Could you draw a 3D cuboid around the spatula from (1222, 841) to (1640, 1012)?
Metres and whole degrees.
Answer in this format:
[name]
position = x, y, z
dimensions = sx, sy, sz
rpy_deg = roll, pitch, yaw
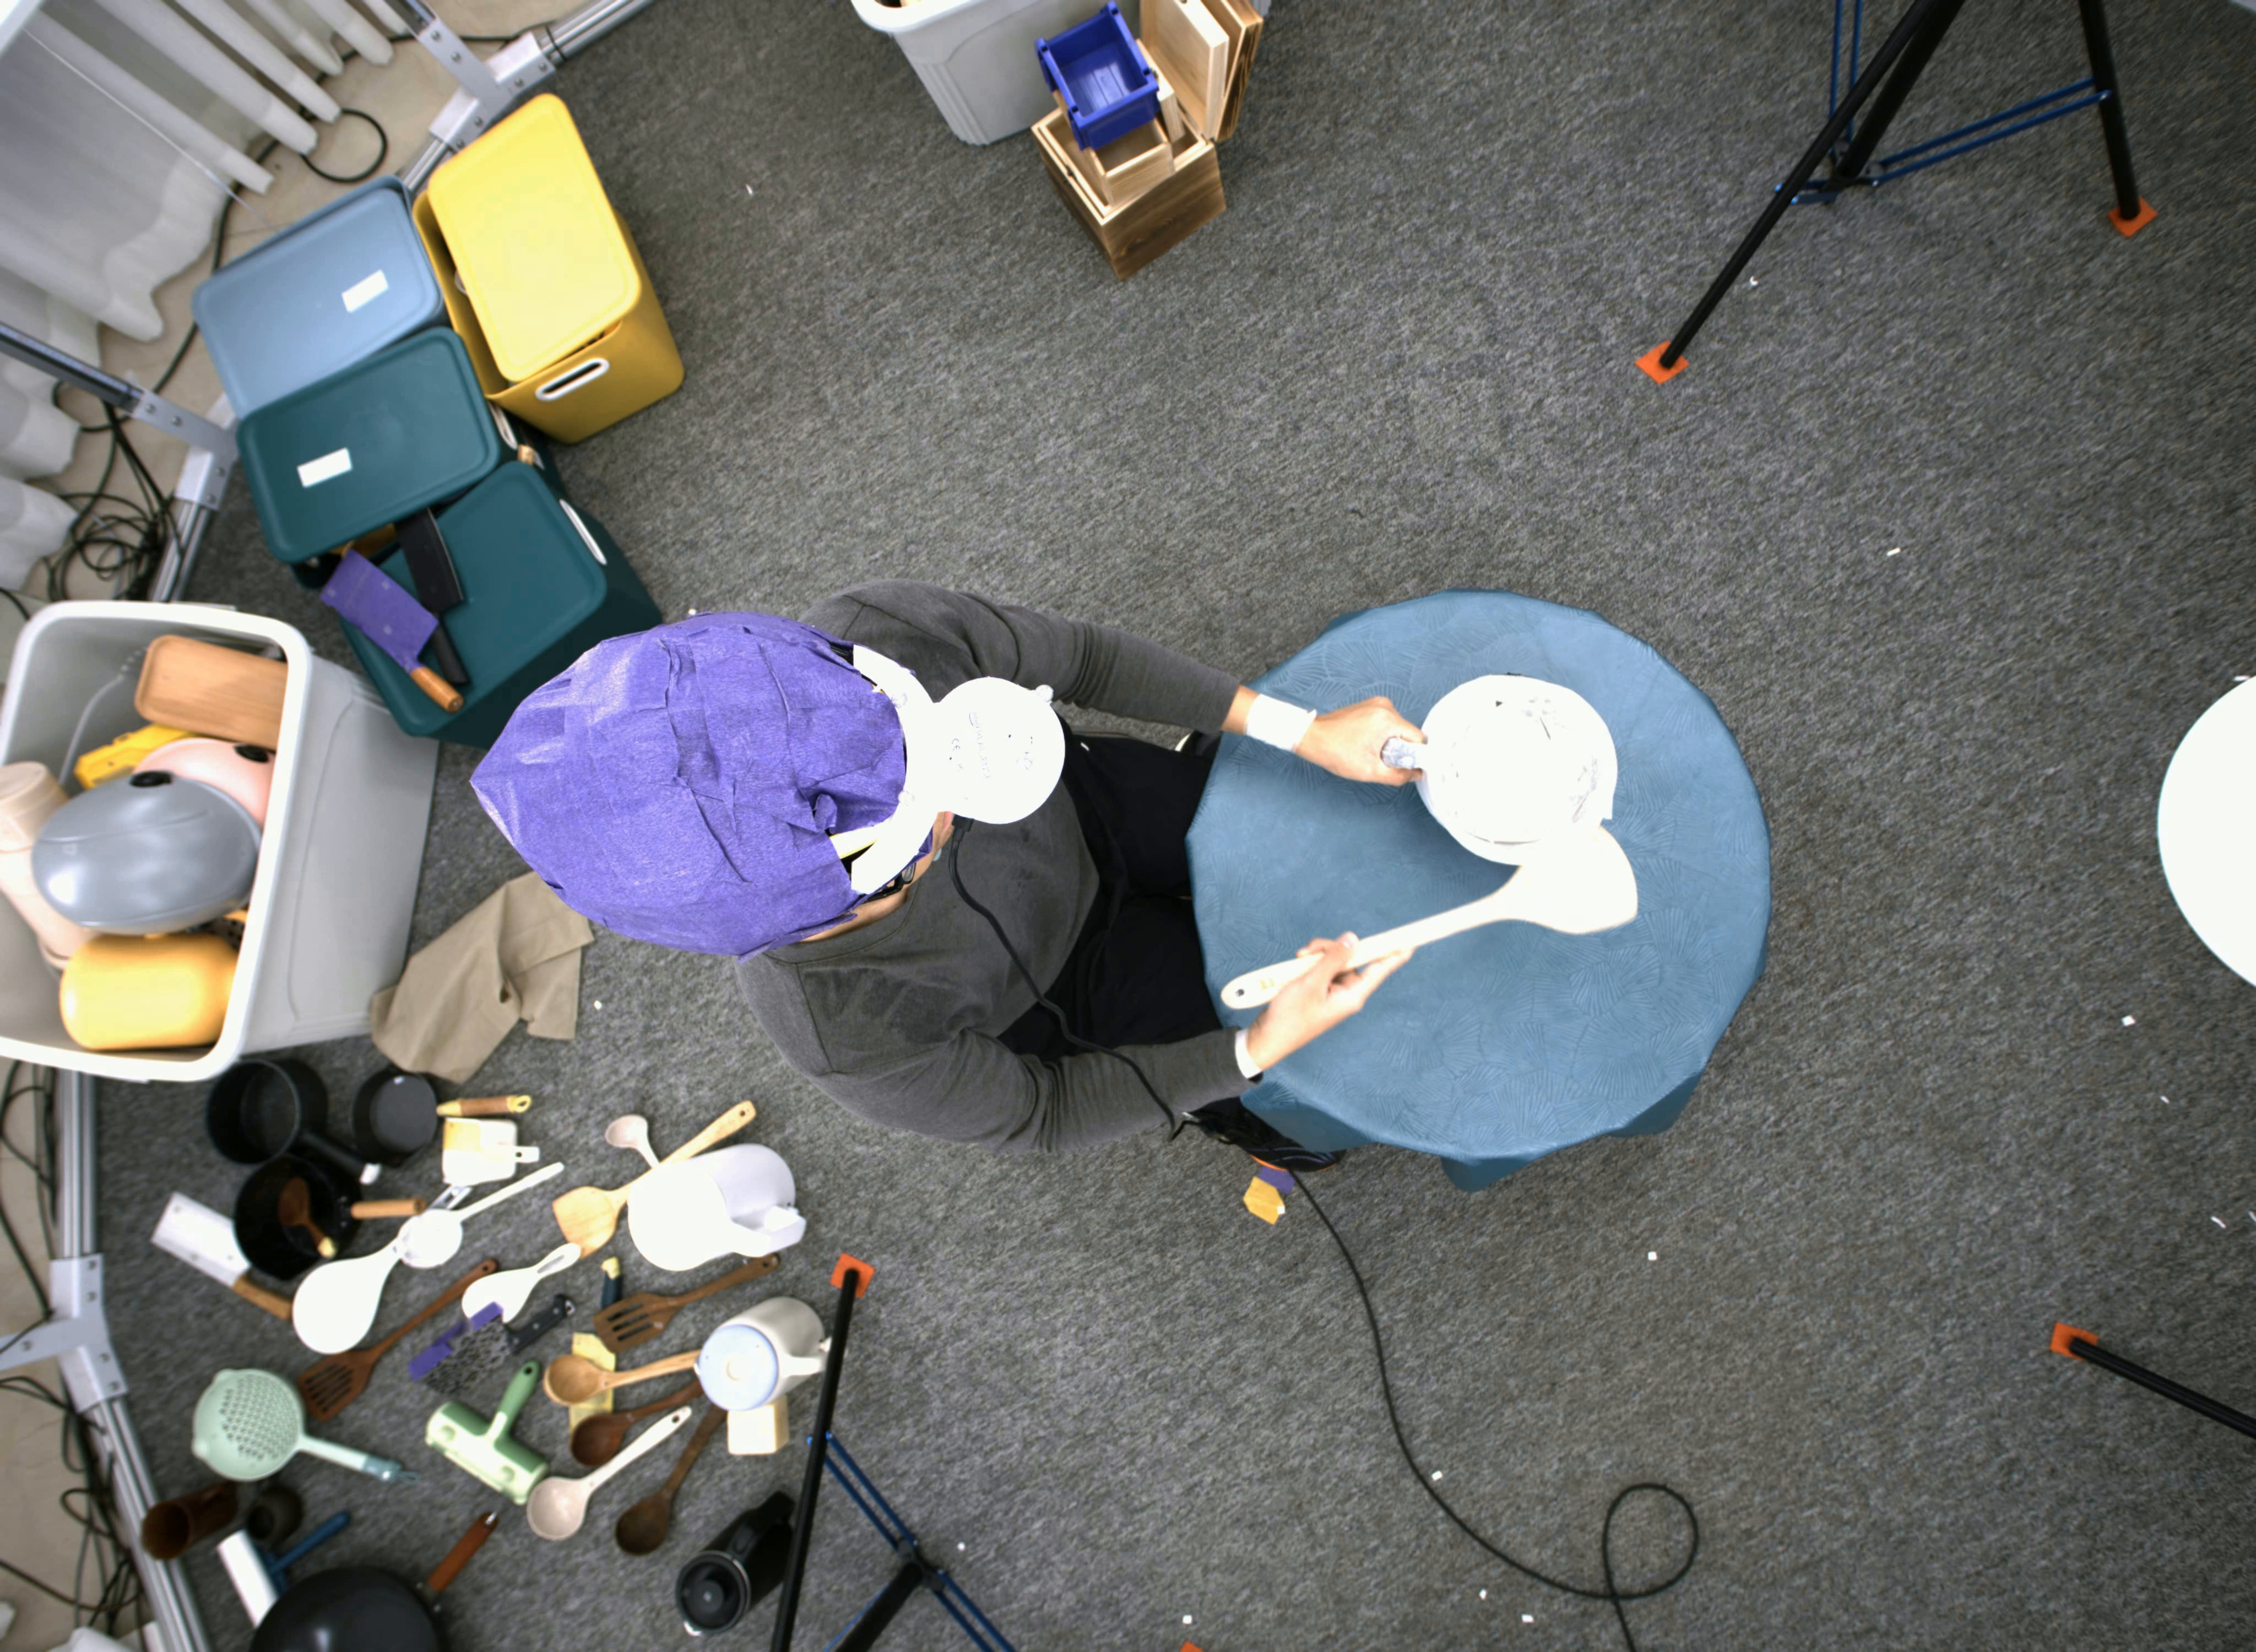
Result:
[spatula]
position = 0.275, 0.108, 1.266
dimensions = 0.392, 0.018, 0.095
rpy_deg = -18, 77, 5

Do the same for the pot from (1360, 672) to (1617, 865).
[pot]
position = 0.350, -0.066, 1.359
dimensions = 0.234, 0.135, 0.180
rpy_deg = 7, 101, 3
